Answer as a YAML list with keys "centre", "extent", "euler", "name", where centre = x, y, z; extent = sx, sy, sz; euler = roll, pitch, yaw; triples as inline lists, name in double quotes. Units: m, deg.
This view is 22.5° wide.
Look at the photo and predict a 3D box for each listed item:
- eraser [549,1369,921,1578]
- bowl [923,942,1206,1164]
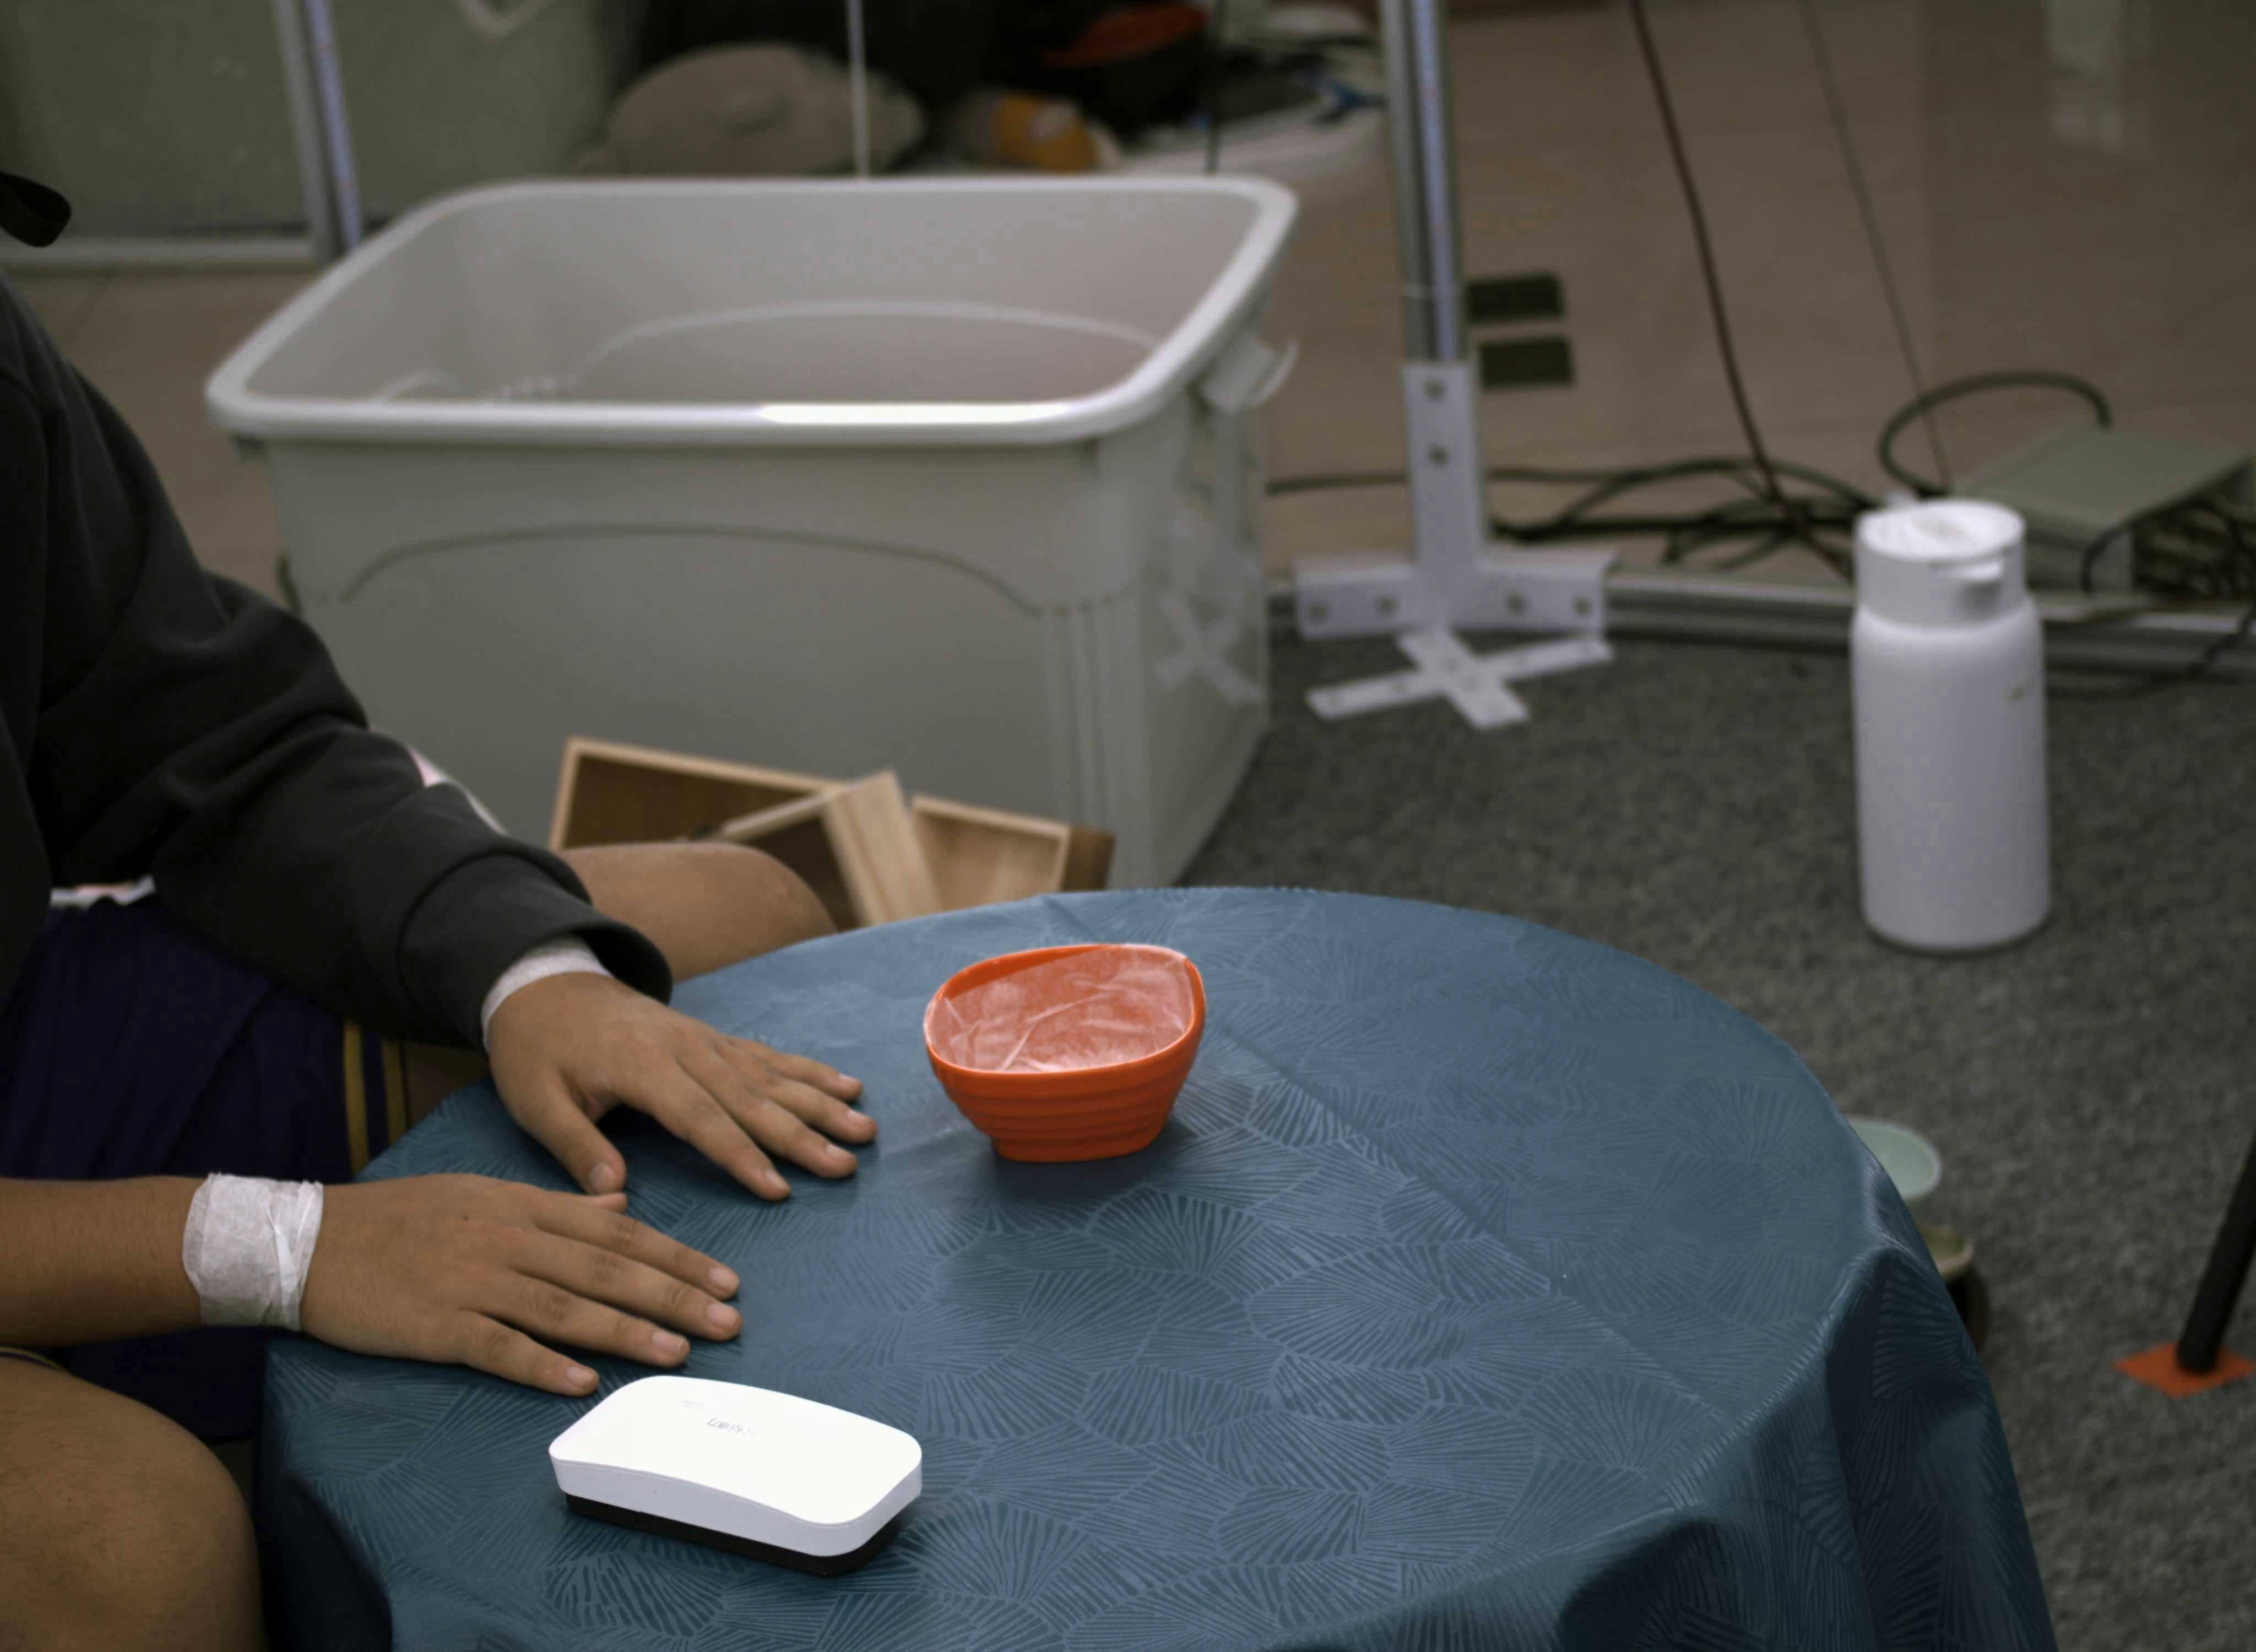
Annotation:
- centre: [-0.135, 0.221, 1.965]
  extent: [0.130, 0.035, 0.063]
  euler: [13, 29, 31]
  name: "eraser"
- centre: [-0.022, 0.092, 2.192]
  extent: [0.119, 0.052, 0.117]
  euler: [-6, 26, 3]
  name: "bowl"
